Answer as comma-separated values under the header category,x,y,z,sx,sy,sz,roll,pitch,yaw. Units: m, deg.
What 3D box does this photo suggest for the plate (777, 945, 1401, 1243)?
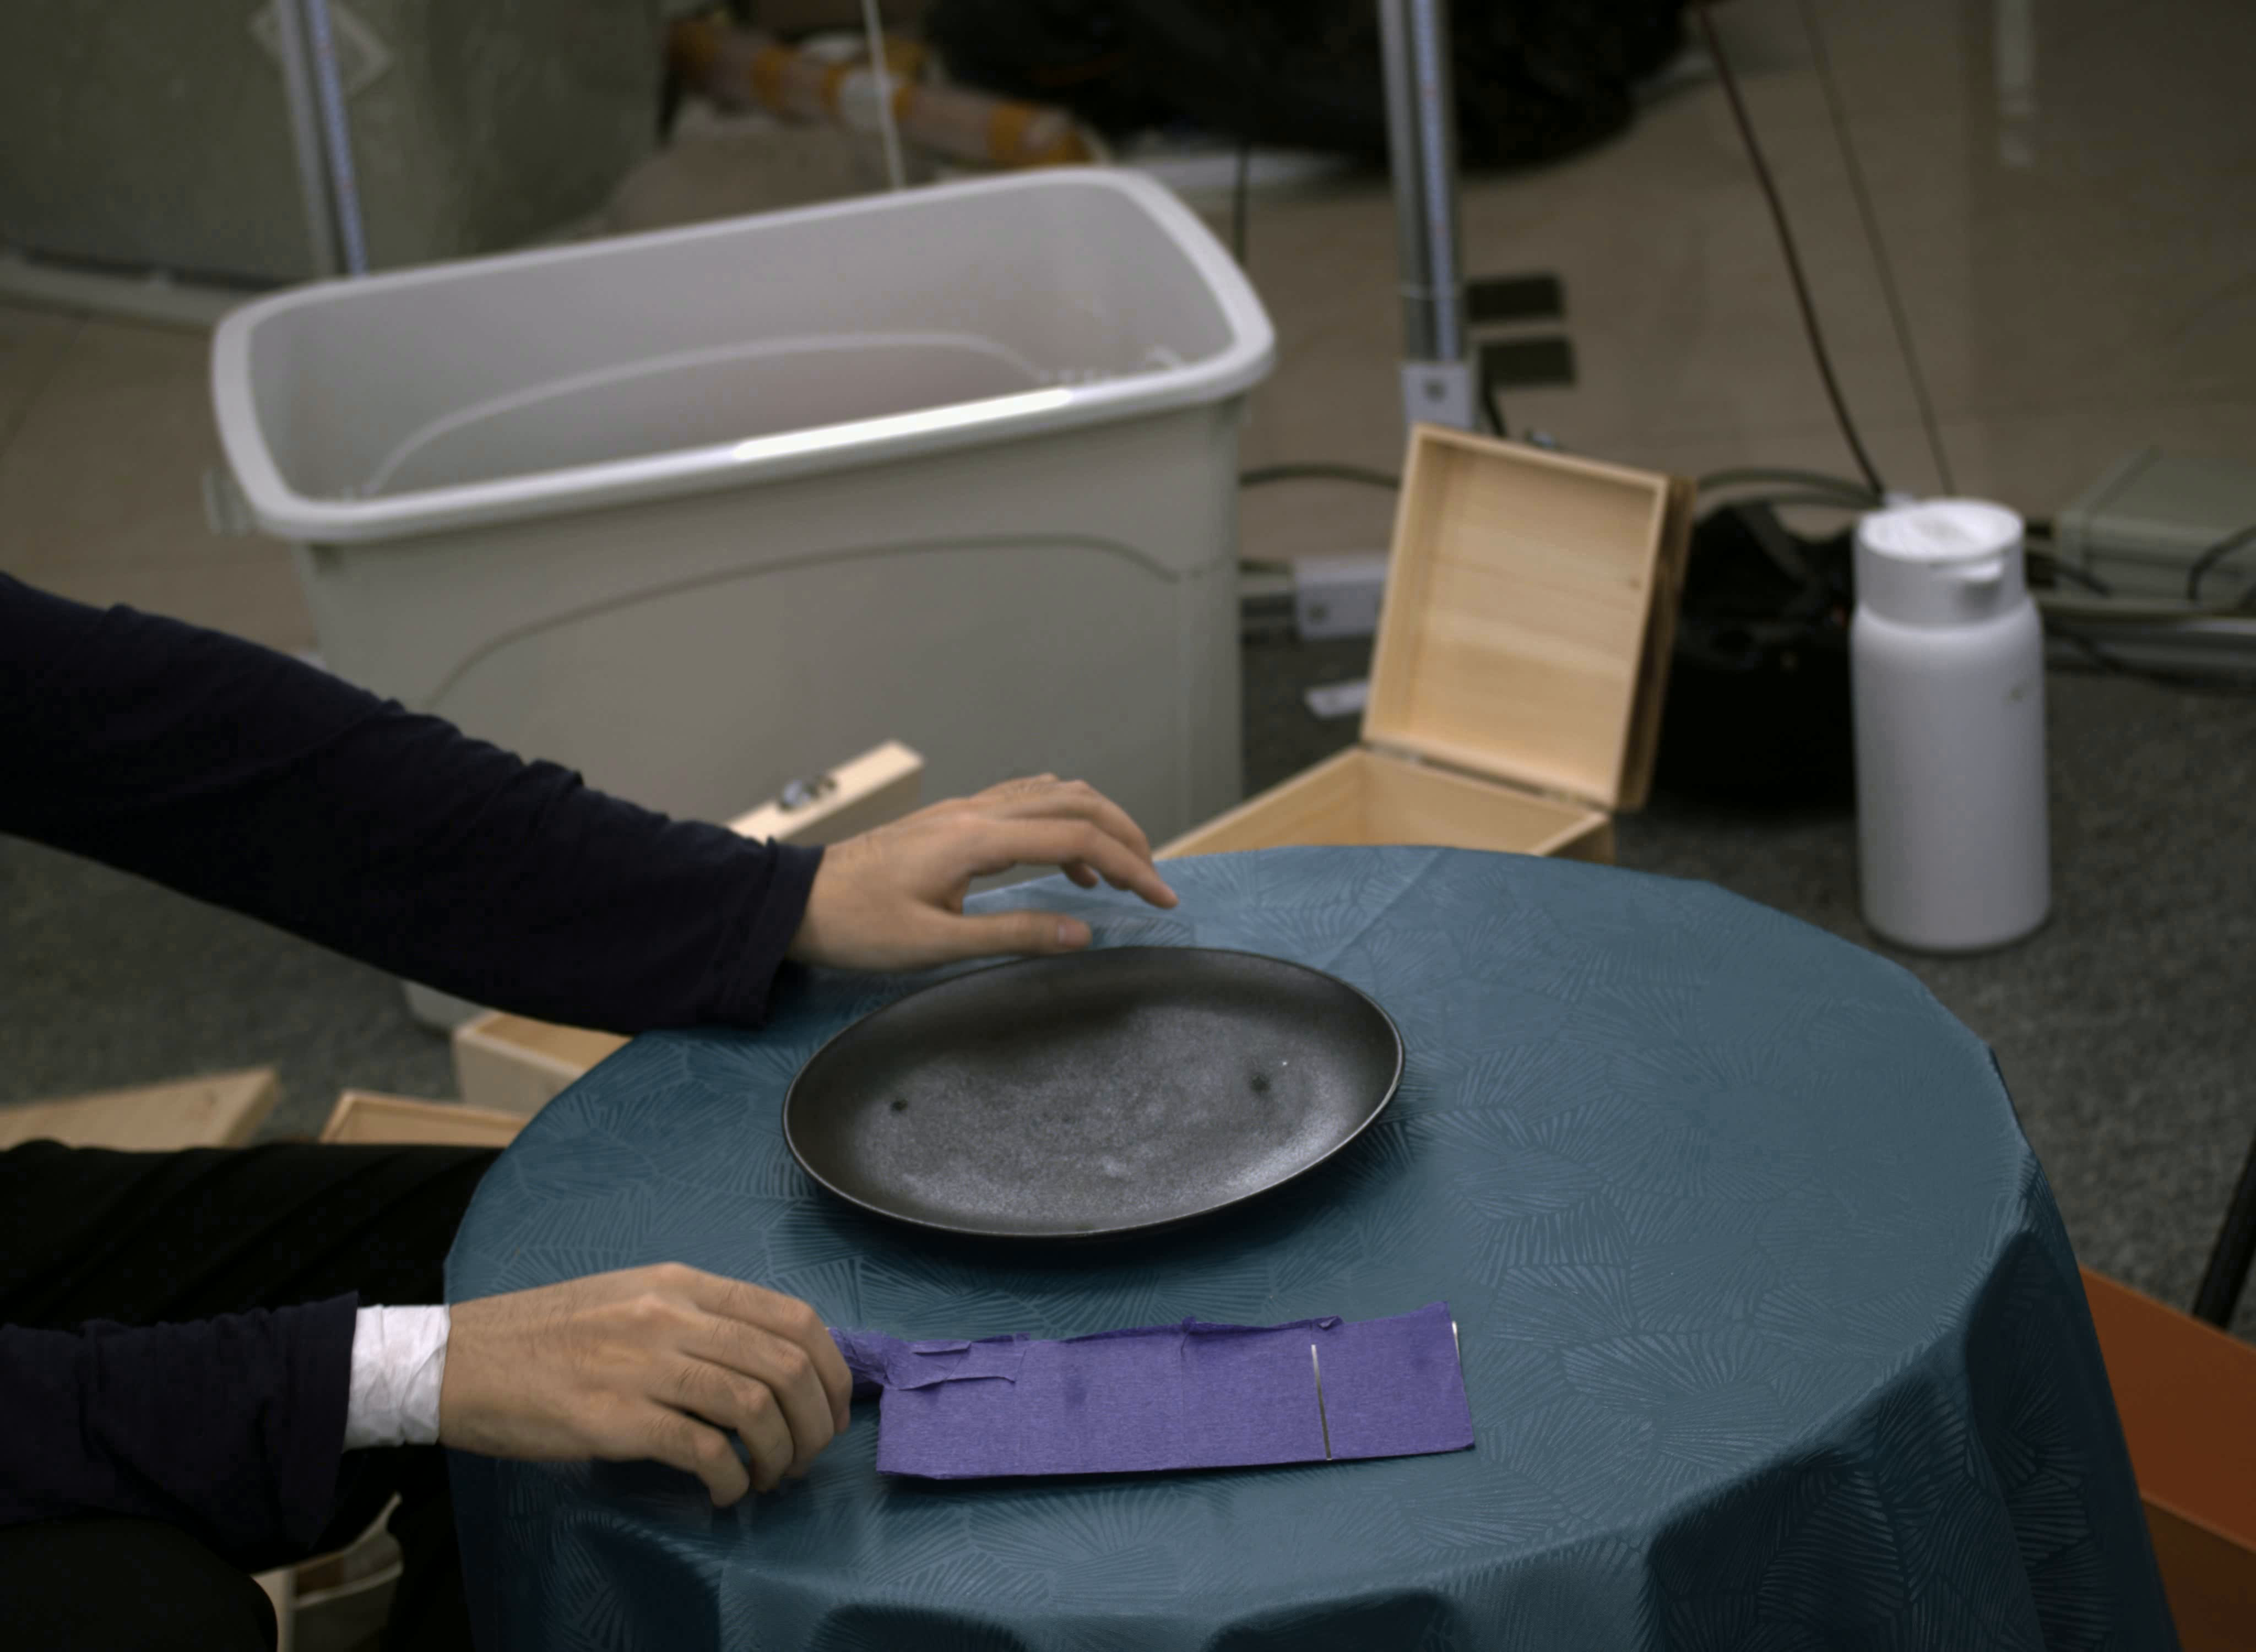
category,x,y,z,sx,sy,sz,roll,pitch,yaw
plate,-0.015,0.108,2.194,0.244,0.024,0.241,-5,25,3

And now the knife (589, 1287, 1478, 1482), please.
category,x,y,z,sx,sy,sz,roll,pitch,yaw
knife,-0.036,0.199,1.999,0.315,0.033,0.102,-5,25,2
